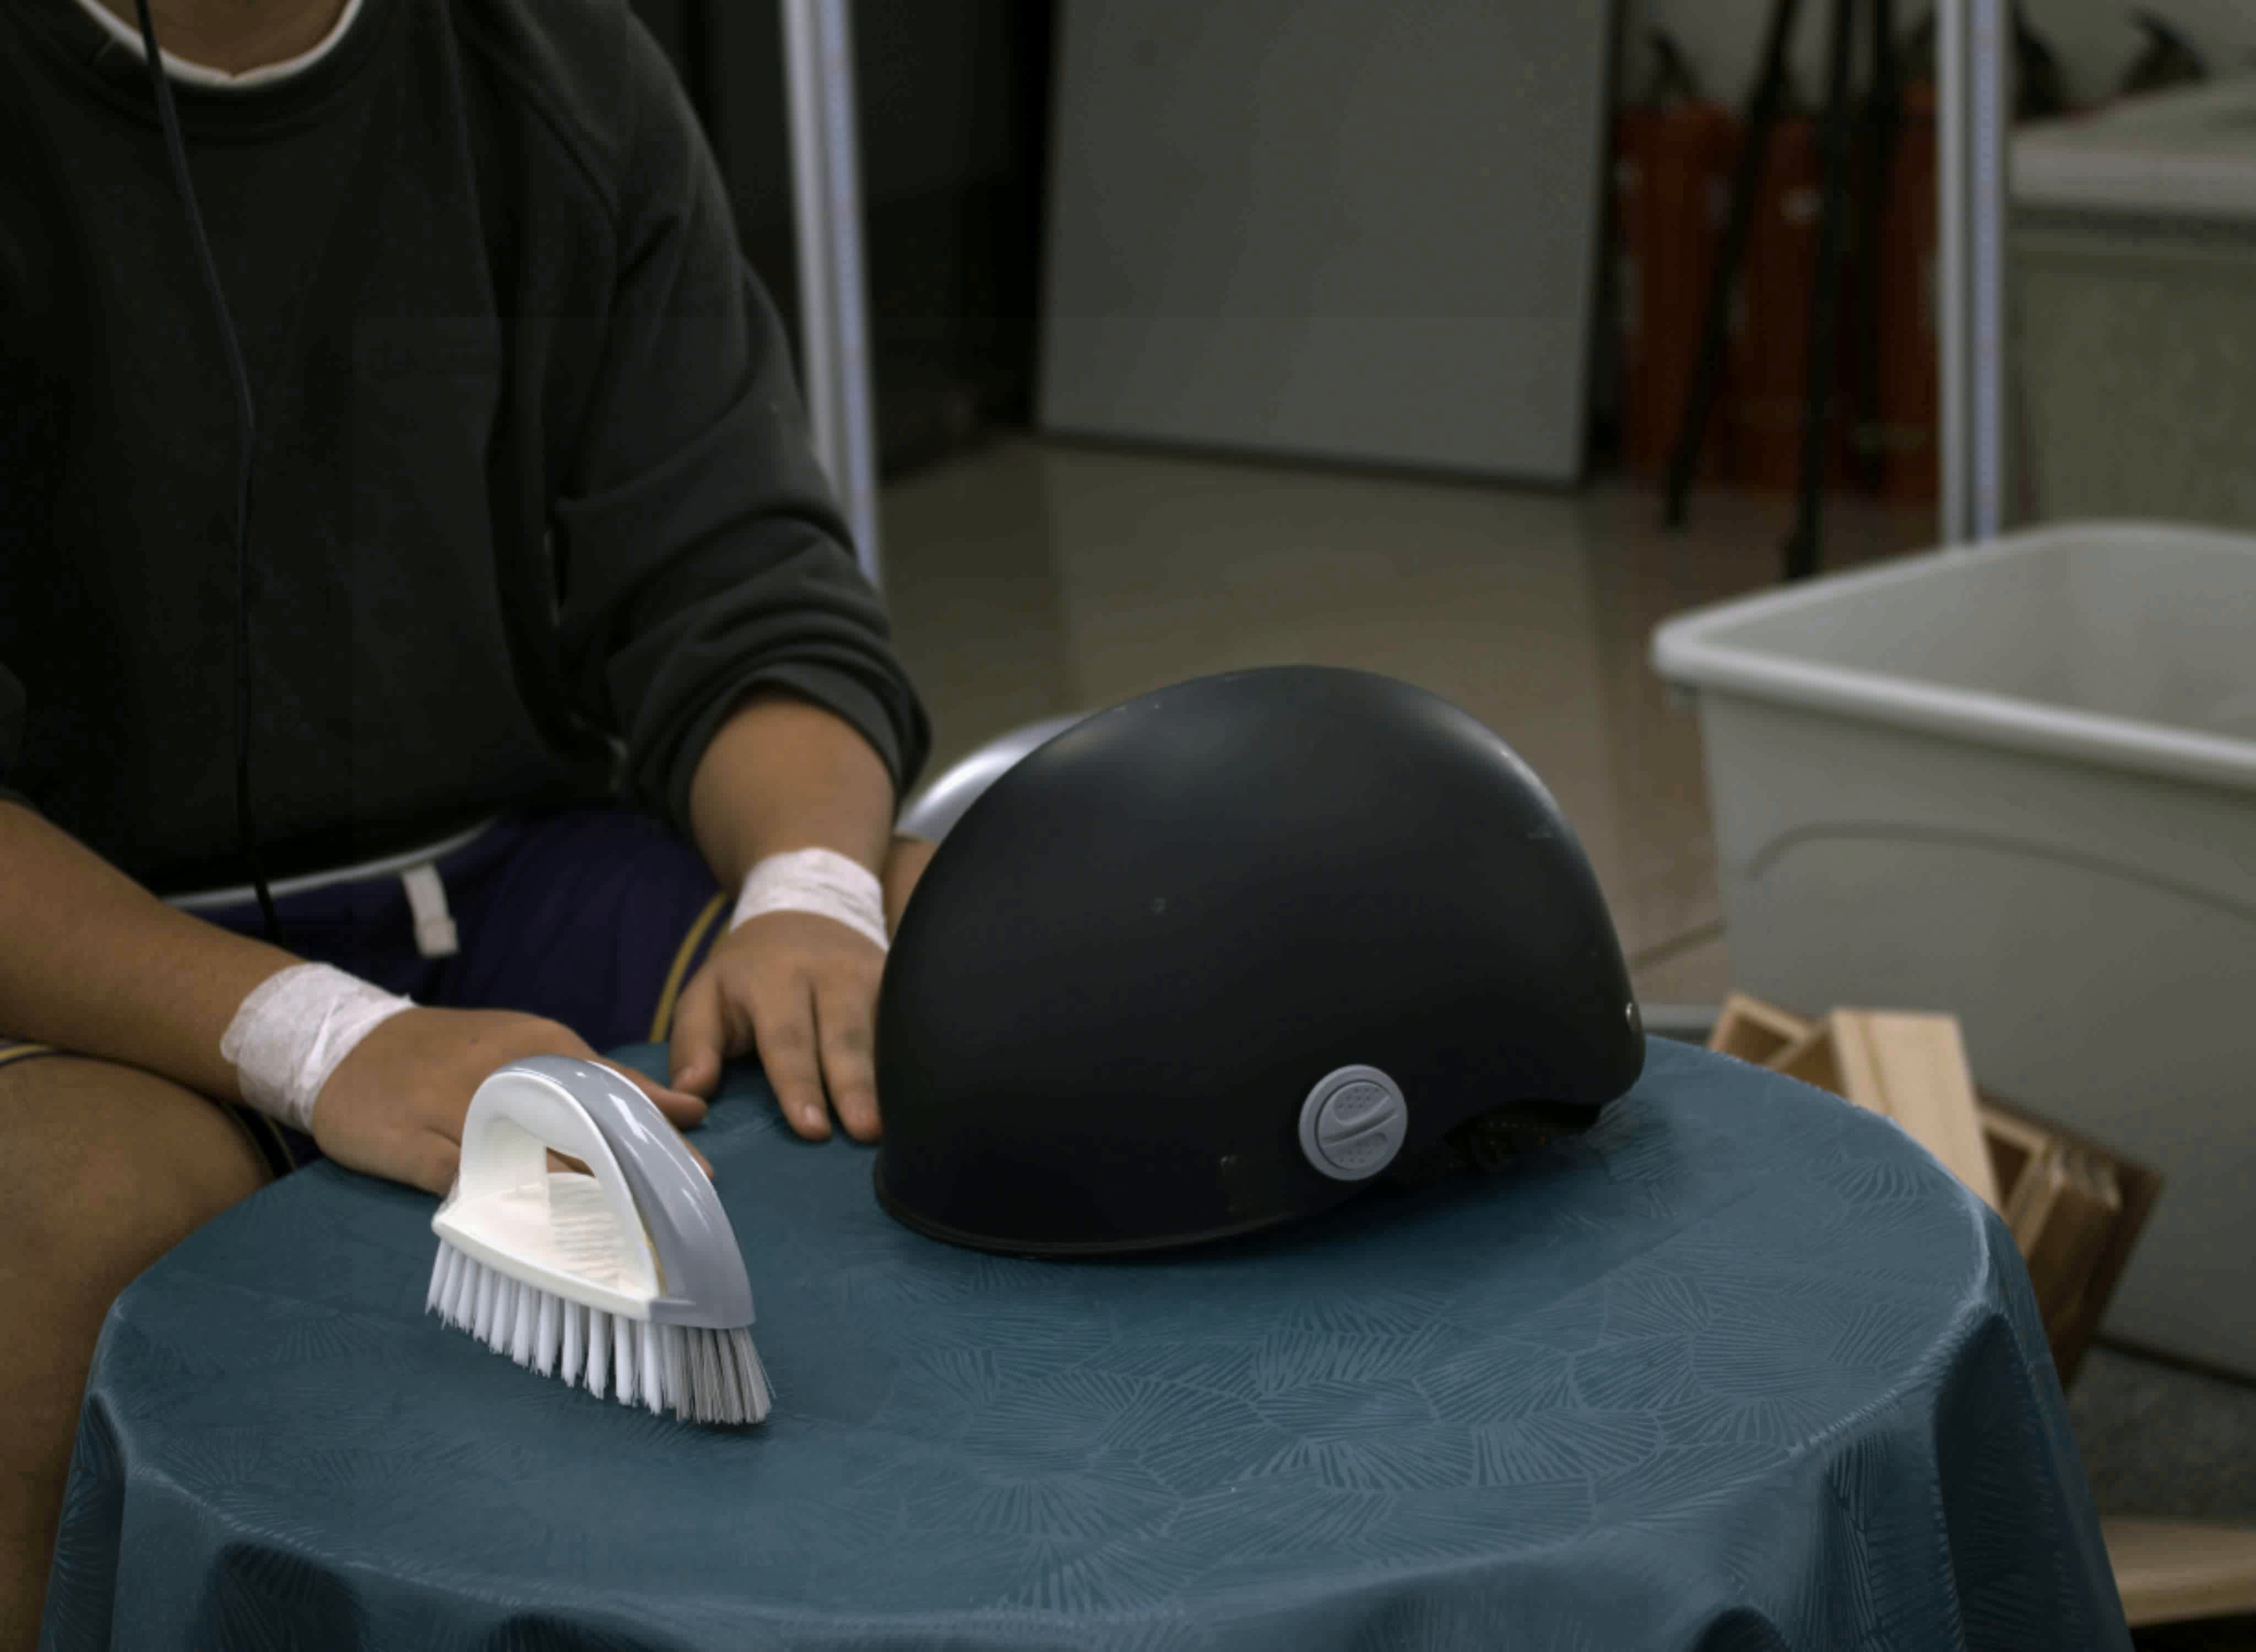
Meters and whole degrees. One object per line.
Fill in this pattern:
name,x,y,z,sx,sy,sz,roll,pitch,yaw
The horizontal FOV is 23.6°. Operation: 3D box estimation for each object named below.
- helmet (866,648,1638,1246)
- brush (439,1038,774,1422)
helmet,0.036,0.031,1.789,0.267,0.168,0.232,-14,16,-30
brush,-0.154,0.118,1.632,0.060,0.095,0.177,-13,18,-29
